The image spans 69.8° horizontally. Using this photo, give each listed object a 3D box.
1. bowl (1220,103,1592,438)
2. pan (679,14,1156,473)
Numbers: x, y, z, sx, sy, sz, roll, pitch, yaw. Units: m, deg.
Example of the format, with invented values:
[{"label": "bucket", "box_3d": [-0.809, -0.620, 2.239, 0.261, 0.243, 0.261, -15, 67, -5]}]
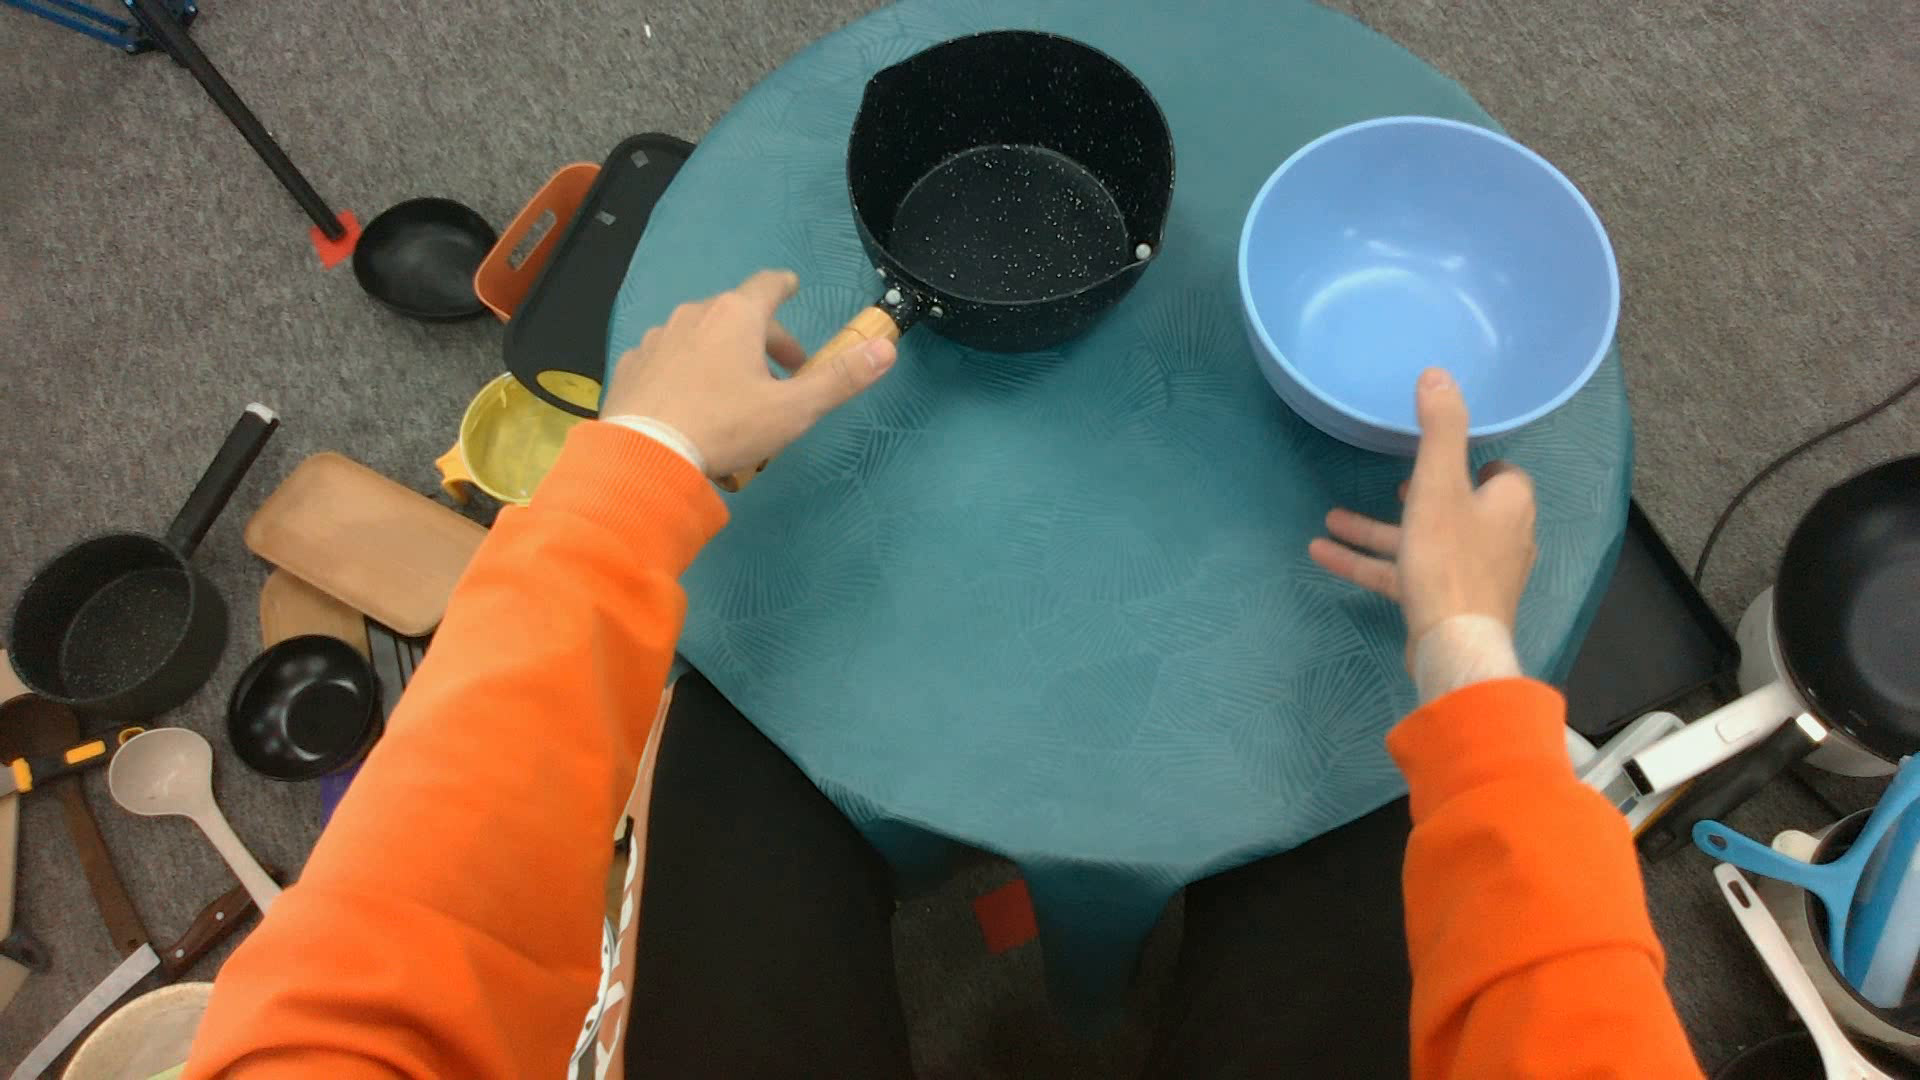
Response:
[{"label": "bowl", "box_3d": [0.236, -0.135, 0.771, 0.196, 0.095, 0.197, 0, 68, -1]}, {"label": "pan", "box_3d": [-0.029, -0.148, 0.771, 0.207, 0.108, 0.344, 33, 71, 12]}]
